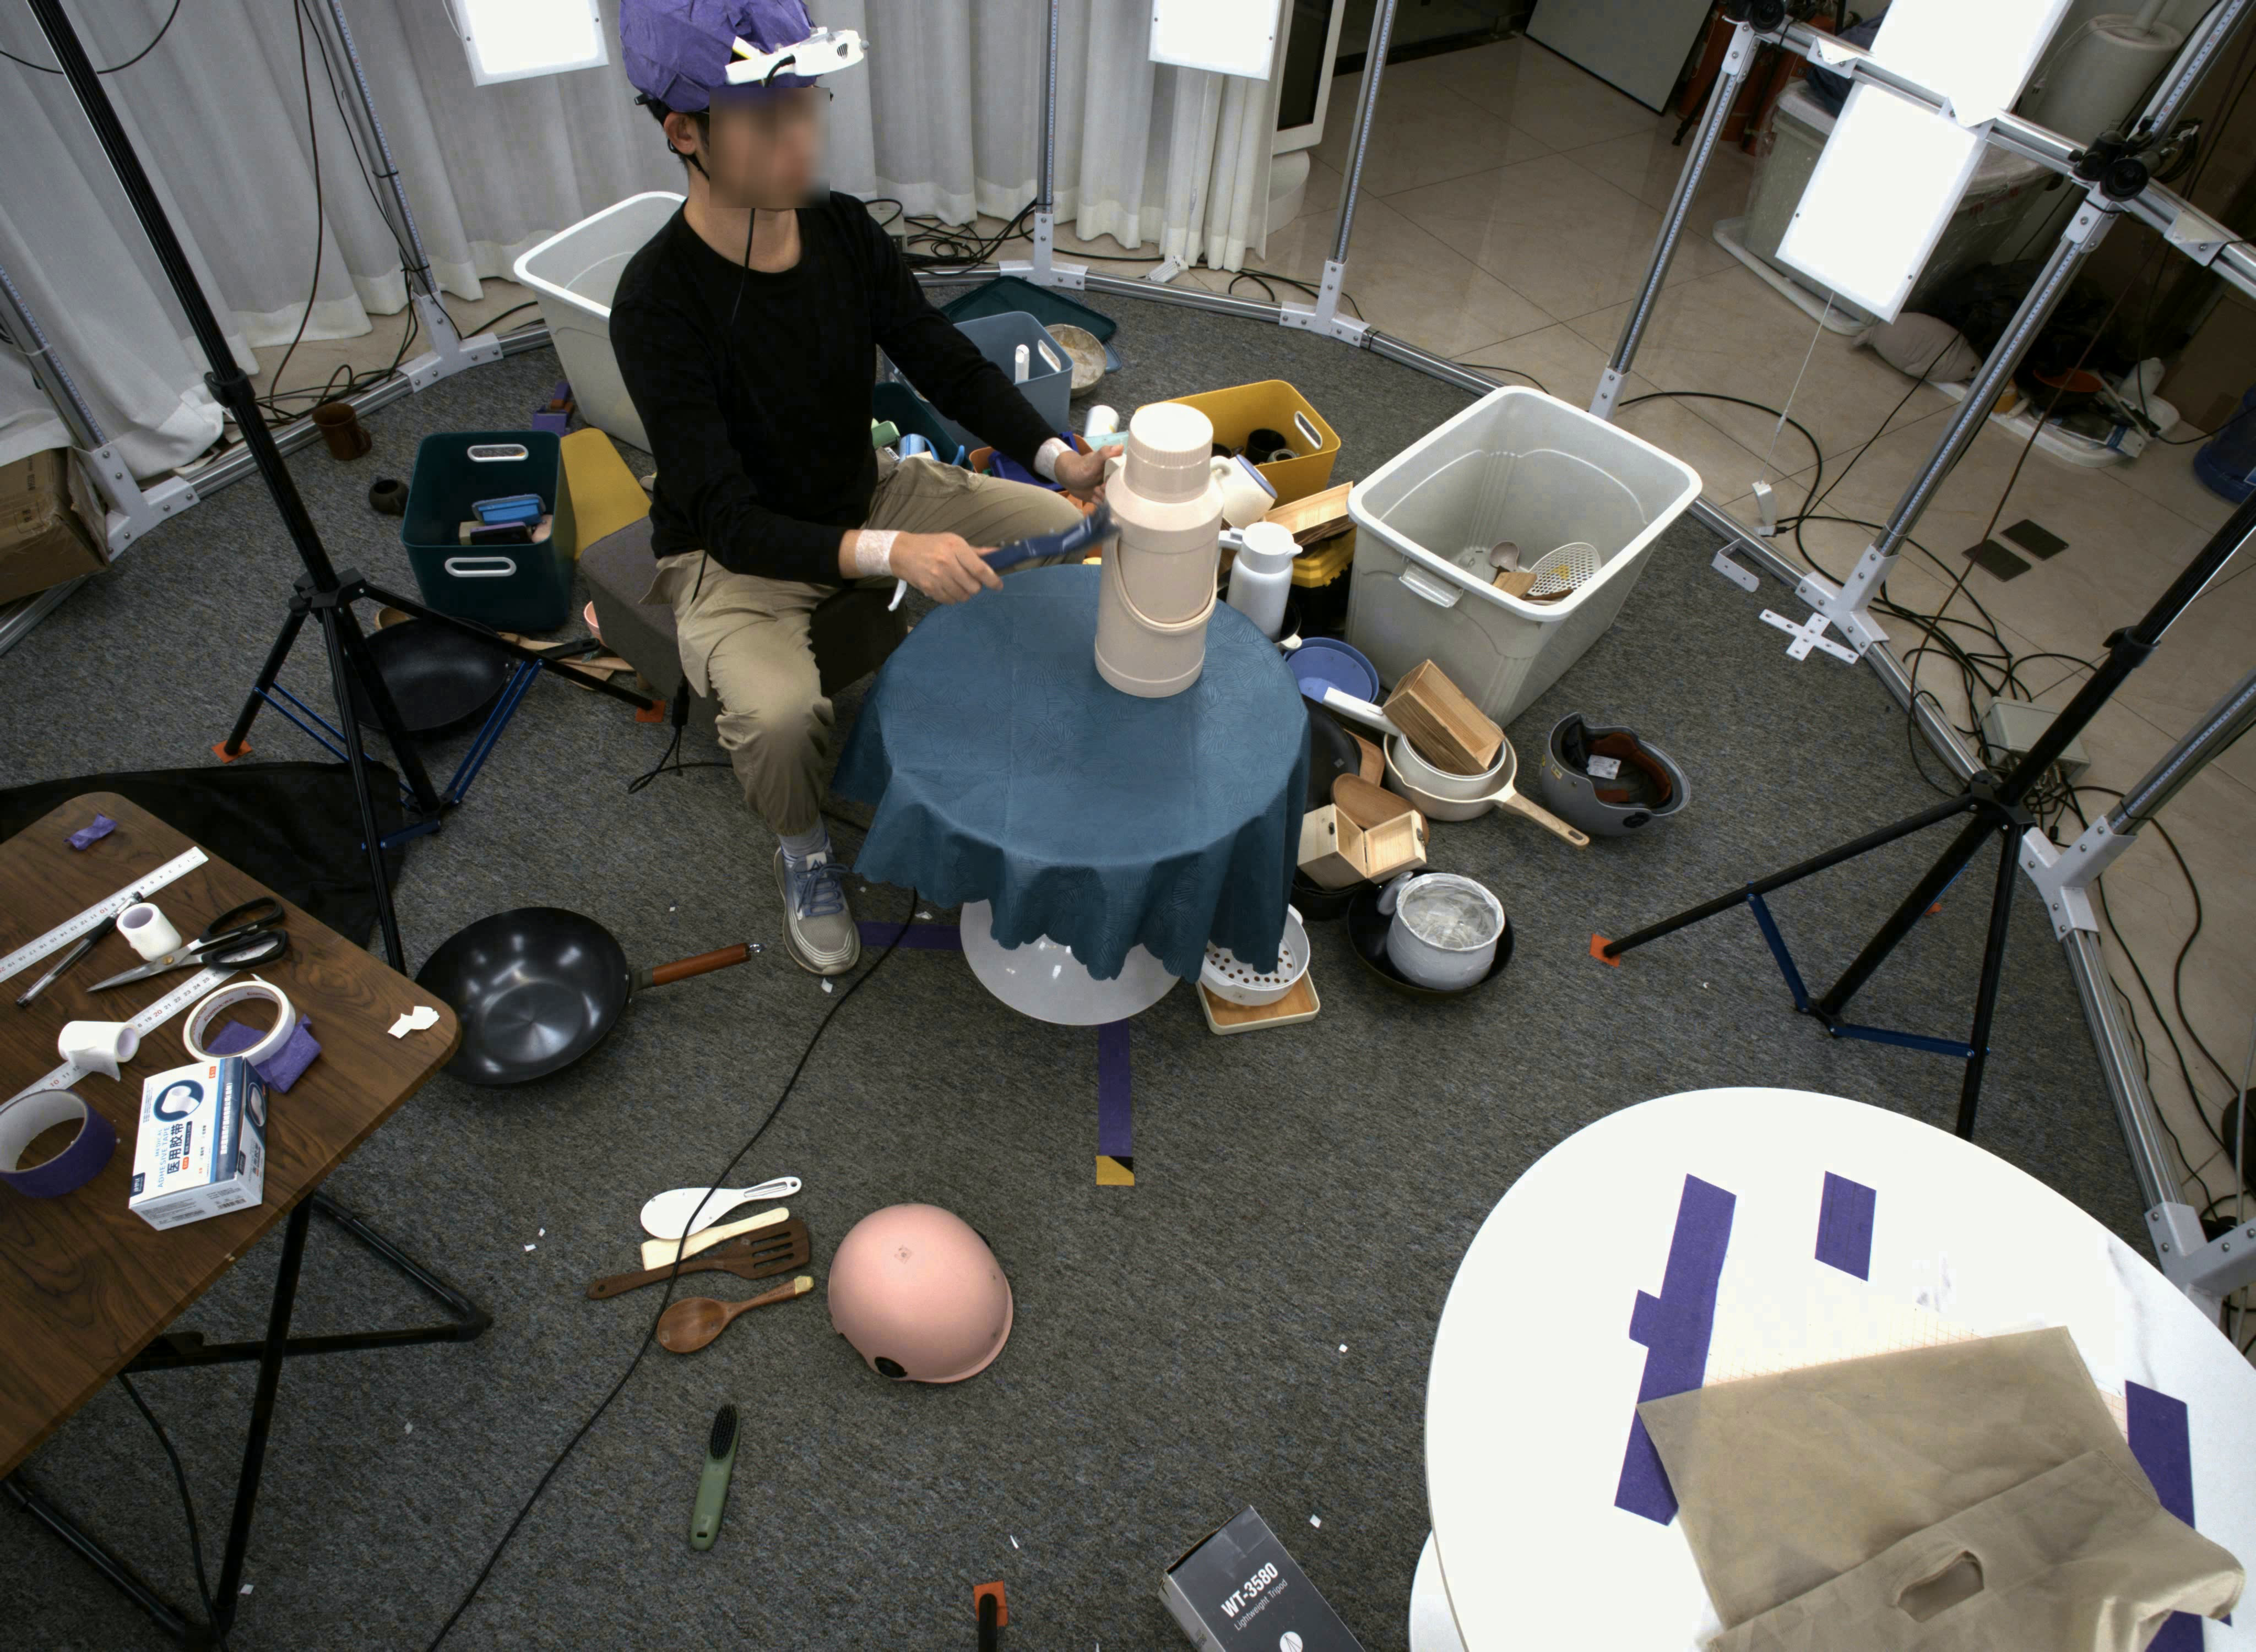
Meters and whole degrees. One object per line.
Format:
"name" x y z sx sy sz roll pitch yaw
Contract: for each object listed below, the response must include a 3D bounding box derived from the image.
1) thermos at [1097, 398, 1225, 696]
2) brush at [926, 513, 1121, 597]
"thermos" 0.036 -0.380 1.746 0.176 0.396 0.211 -28 57 -24
"brush" -0.140 -0.332 1.581 0.273 0.095 0.034 -9 79 19
